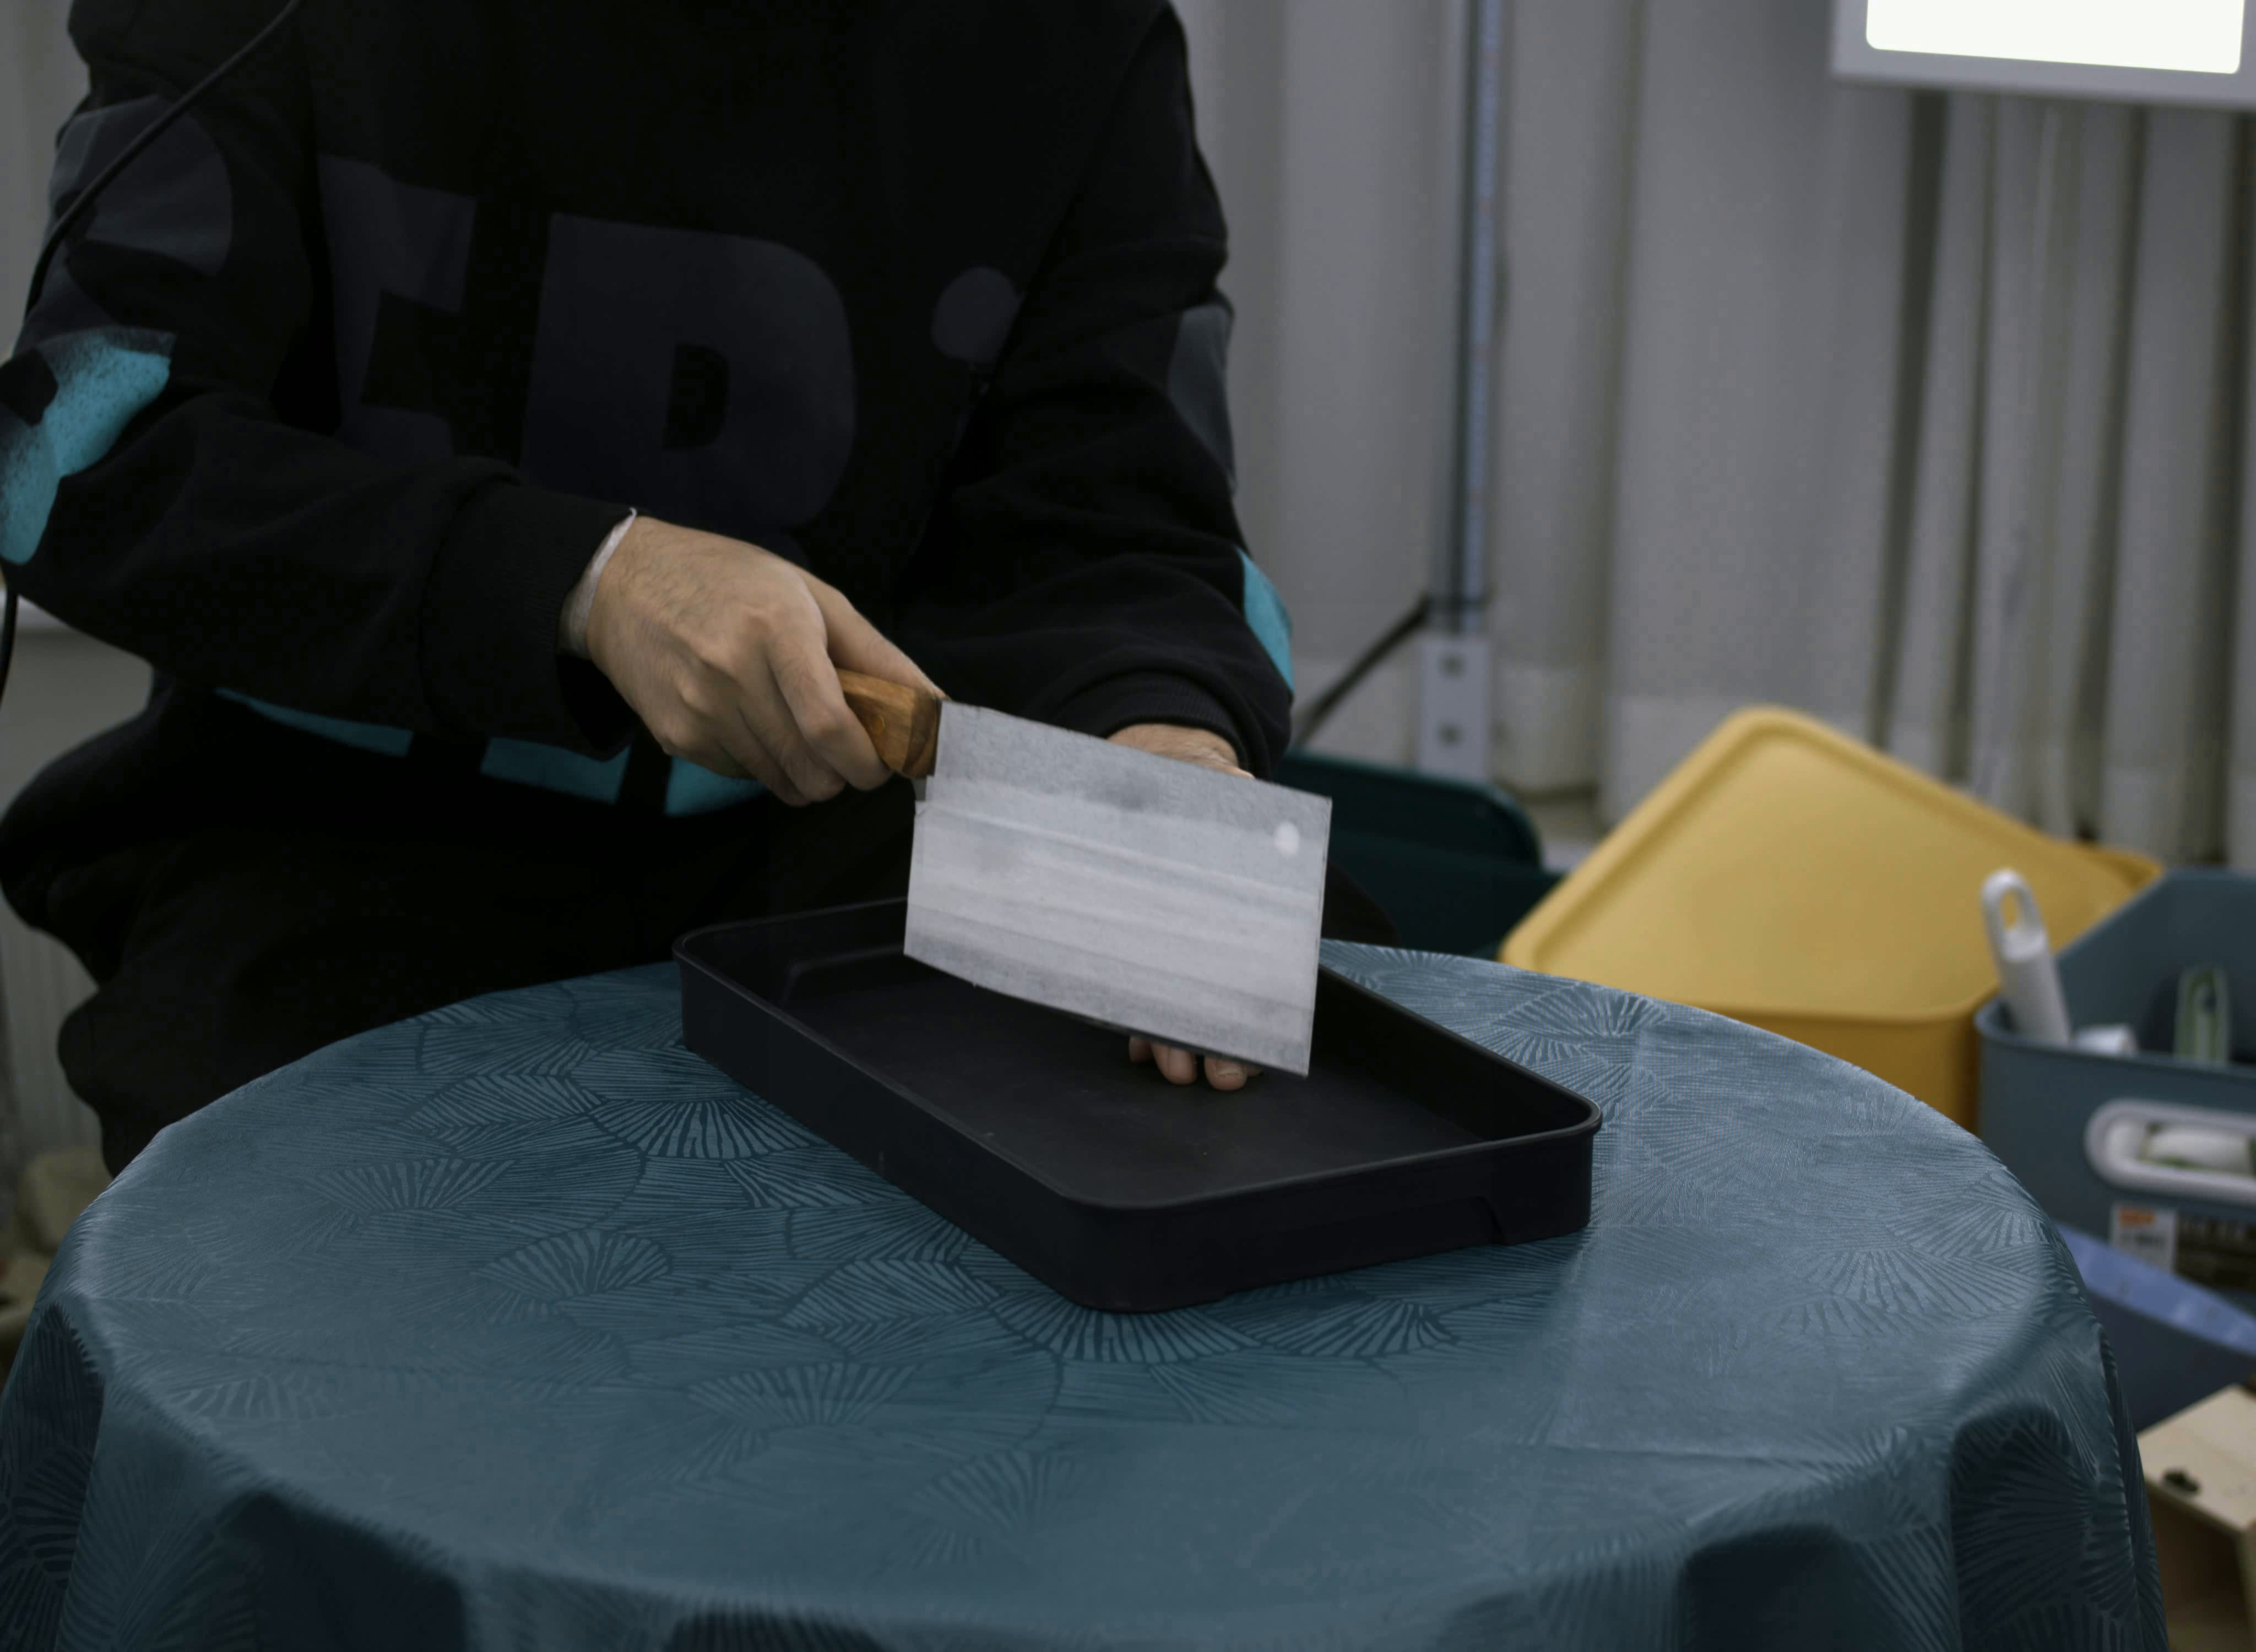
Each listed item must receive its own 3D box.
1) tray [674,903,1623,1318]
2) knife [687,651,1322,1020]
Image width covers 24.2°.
[{"bbox_3d":[0.000,0.080,1.673,0.185,0.037,0.314,-9,18,-30],"label":"tray"},{"bbox_3d":[-0.045,0.003,1.719,0.021,0.093,0.301,-8,16,-43],"label":"knife"}]
